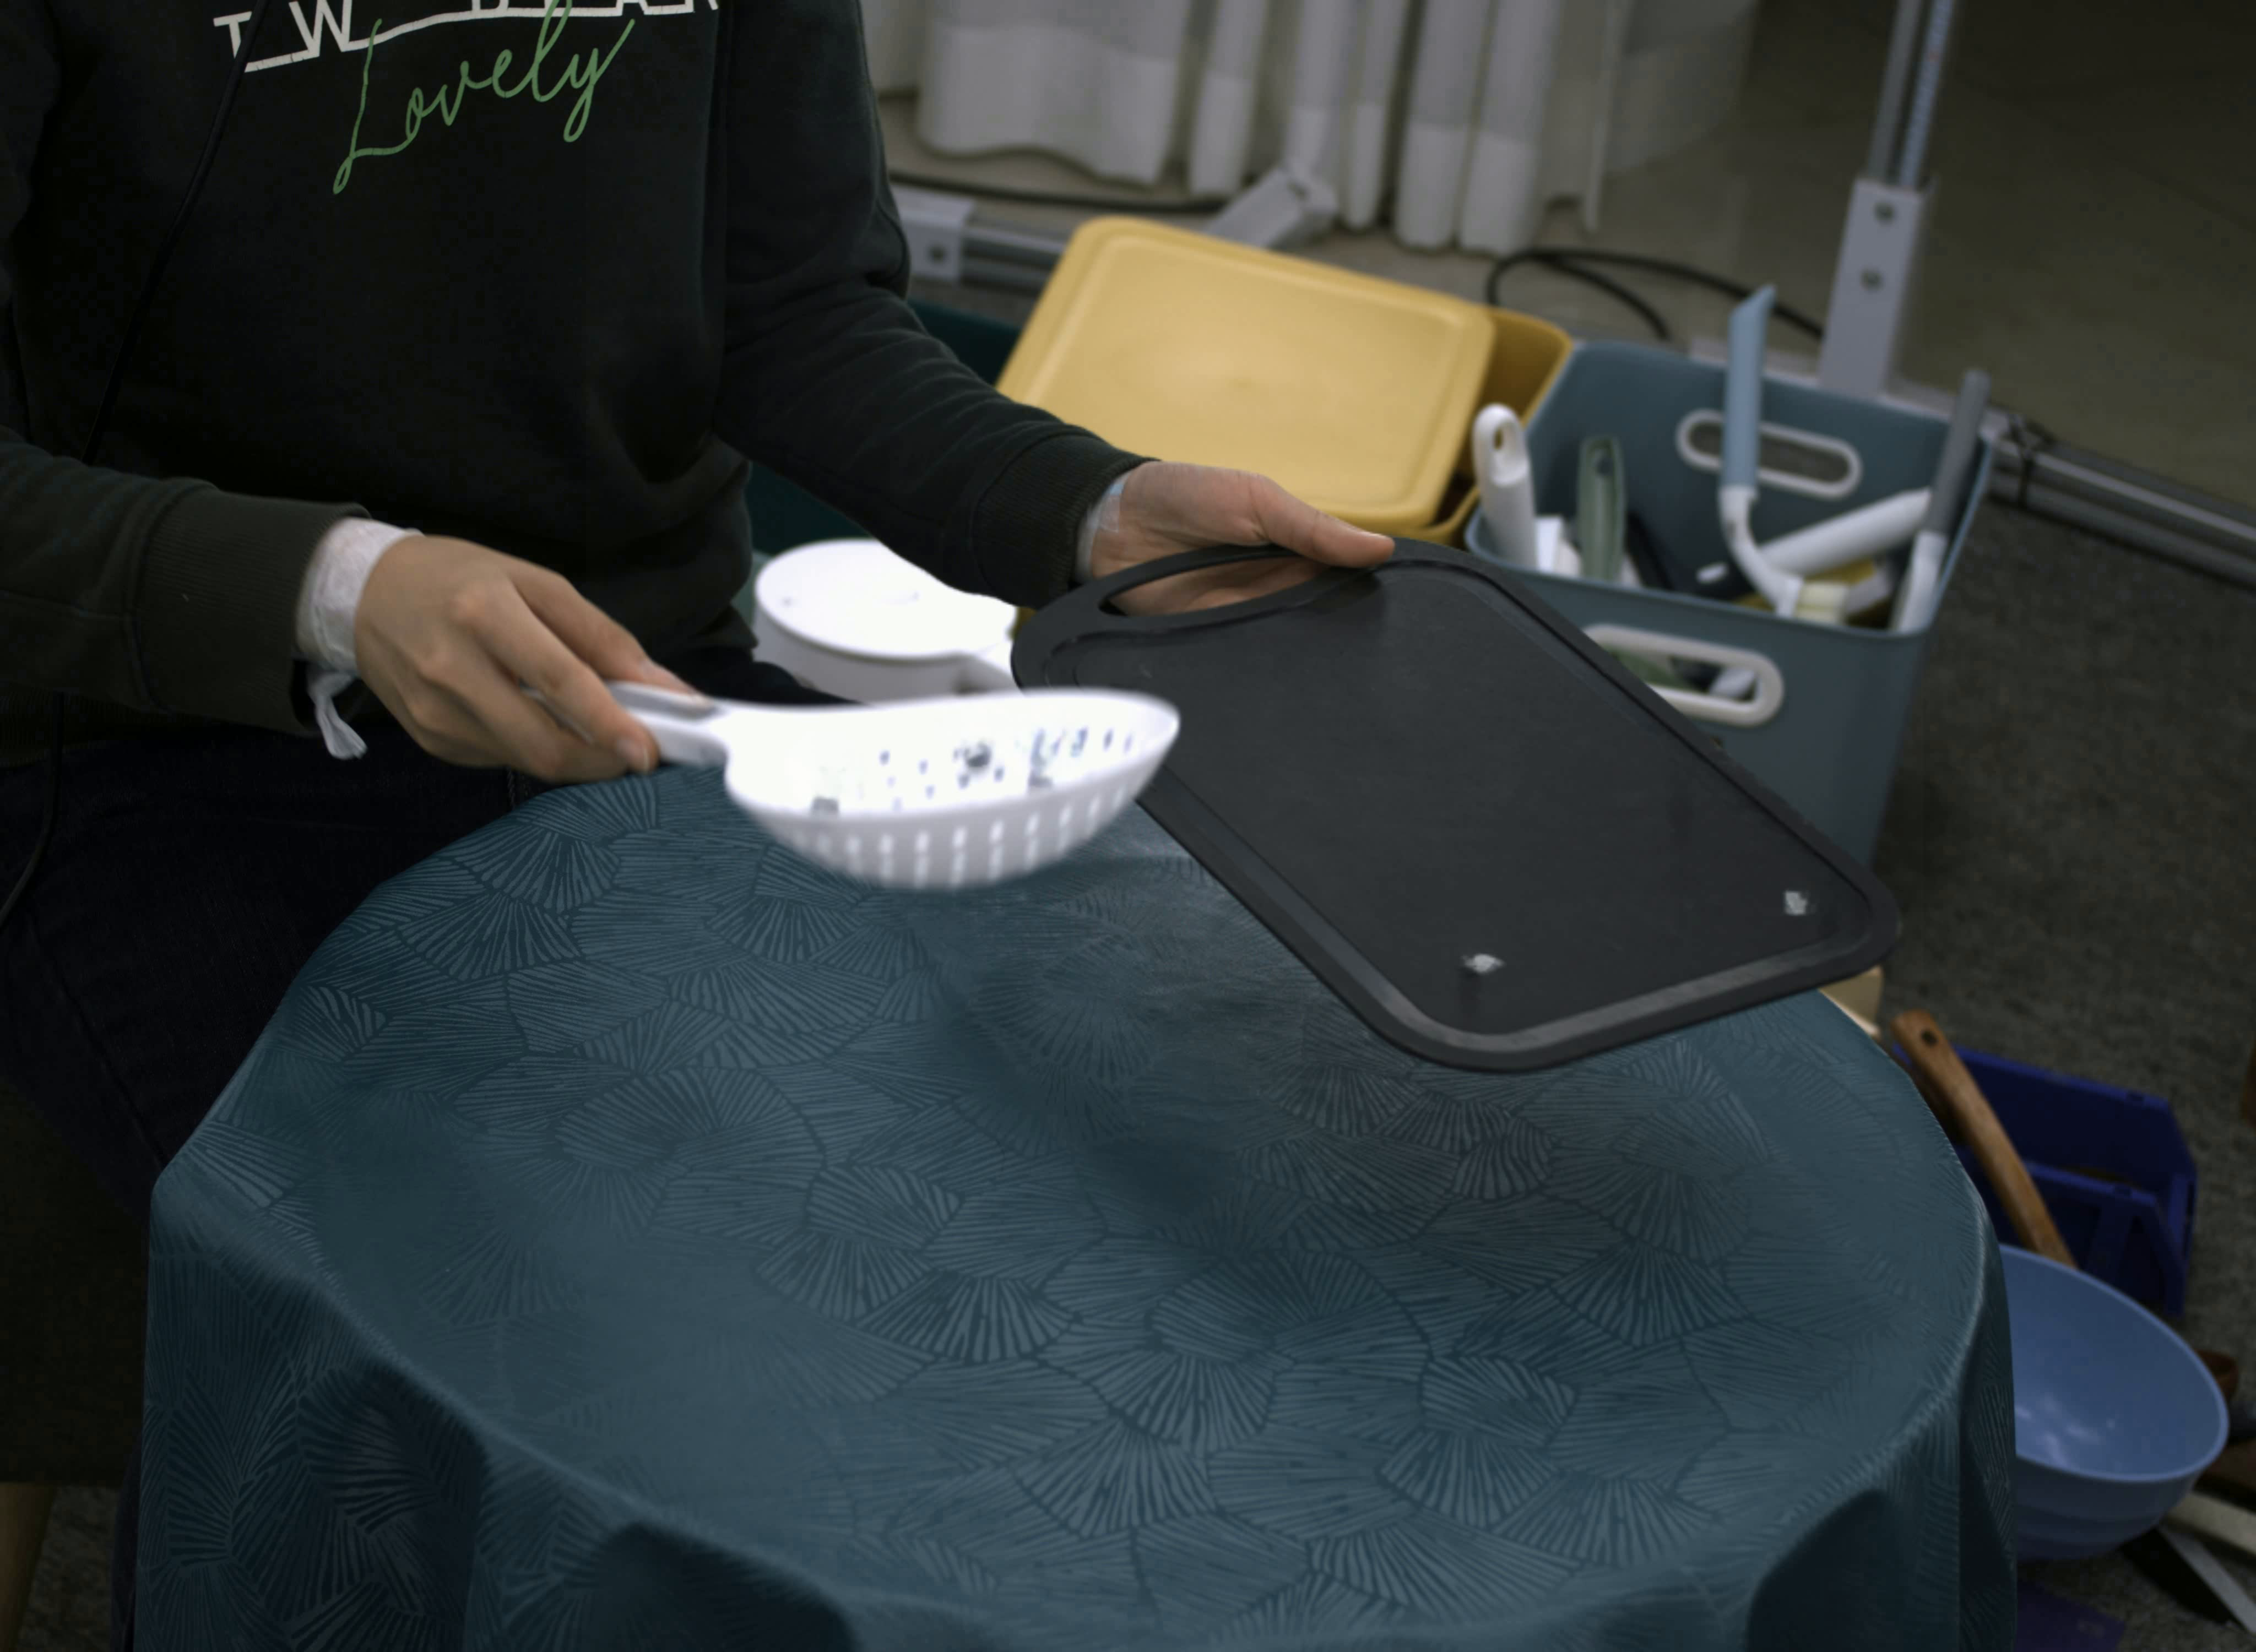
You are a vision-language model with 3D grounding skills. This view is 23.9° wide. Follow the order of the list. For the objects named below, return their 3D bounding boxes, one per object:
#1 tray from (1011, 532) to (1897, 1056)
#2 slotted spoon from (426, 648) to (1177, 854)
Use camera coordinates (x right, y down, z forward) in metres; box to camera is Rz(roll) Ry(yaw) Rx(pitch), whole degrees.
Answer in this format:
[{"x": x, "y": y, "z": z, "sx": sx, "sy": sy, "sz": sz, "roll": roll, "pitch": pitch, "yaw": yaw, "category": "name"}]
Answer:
[{"x": 0.103, "y": -0.021, "z": 1.842, "sx": 0.210, "sy": 0.010, "sz": 0.328, "roll": -14, "pitch": 37, "yaw": -28, "category": "tray"}, {"x": -0.120, "y": -0.035, "z": 1.674, "sx": 0.135, "sy": 0.045, "sz": 0.352, "roll": -16, "pitch": 20, "yaw": -37, "category": "slotted spoon"}]
